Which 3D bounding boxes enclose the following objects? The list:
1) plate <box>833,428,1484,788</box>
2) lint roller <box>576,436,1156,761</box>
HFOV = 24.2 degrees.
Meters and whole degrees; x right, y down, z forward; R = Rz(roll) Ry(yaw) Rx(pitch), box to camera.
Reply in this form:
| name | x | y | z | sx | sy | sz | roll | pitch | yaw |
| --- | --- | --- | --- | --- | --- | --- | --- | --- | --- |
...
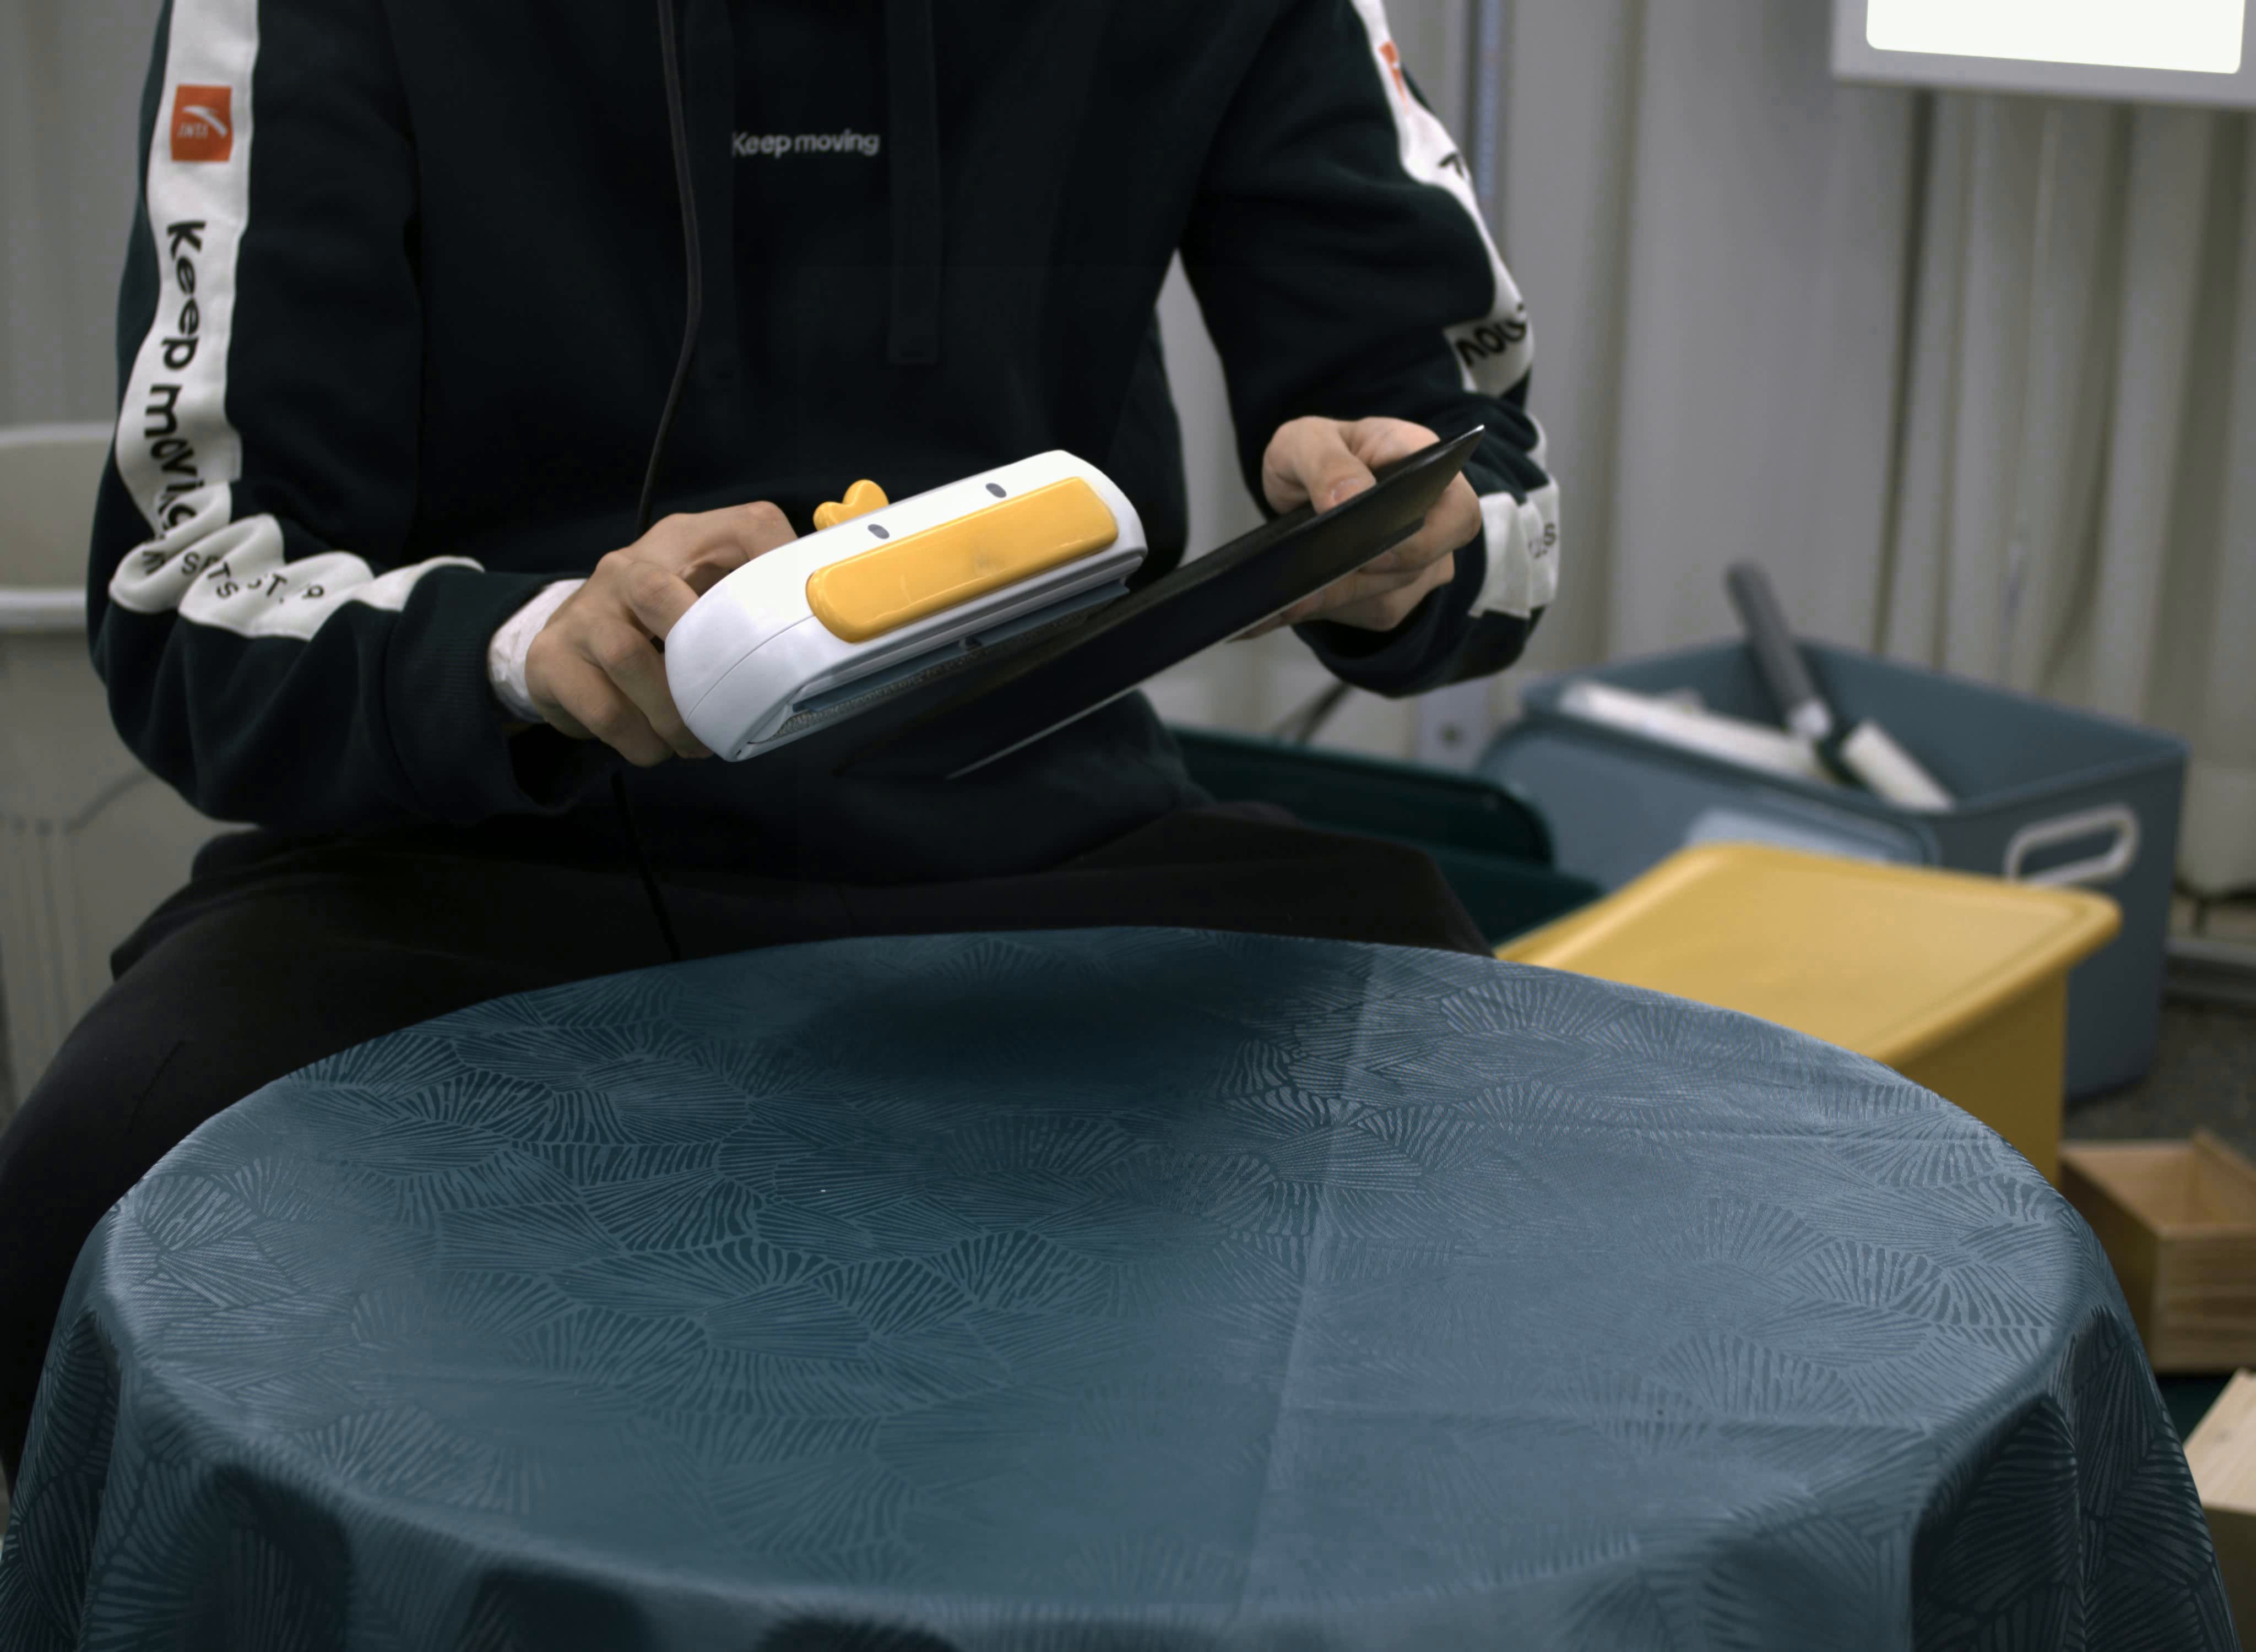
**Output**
| name | x | y | z | sx | sy | sz | roll | pitch | yaw |
| --- | --- | --- | --- | --- | --- | --- | --- | --- | --- |
| plate | 0.014 | -0.065 | 1.736 | 0.244 | 0.023 | 0.244 | -28 | 3 | 3 |
| lint roller | -0.107 | -0.057 | 1.733 | 0.192 | 0.074 | 0.193 | -33 | -1 | 39 |
